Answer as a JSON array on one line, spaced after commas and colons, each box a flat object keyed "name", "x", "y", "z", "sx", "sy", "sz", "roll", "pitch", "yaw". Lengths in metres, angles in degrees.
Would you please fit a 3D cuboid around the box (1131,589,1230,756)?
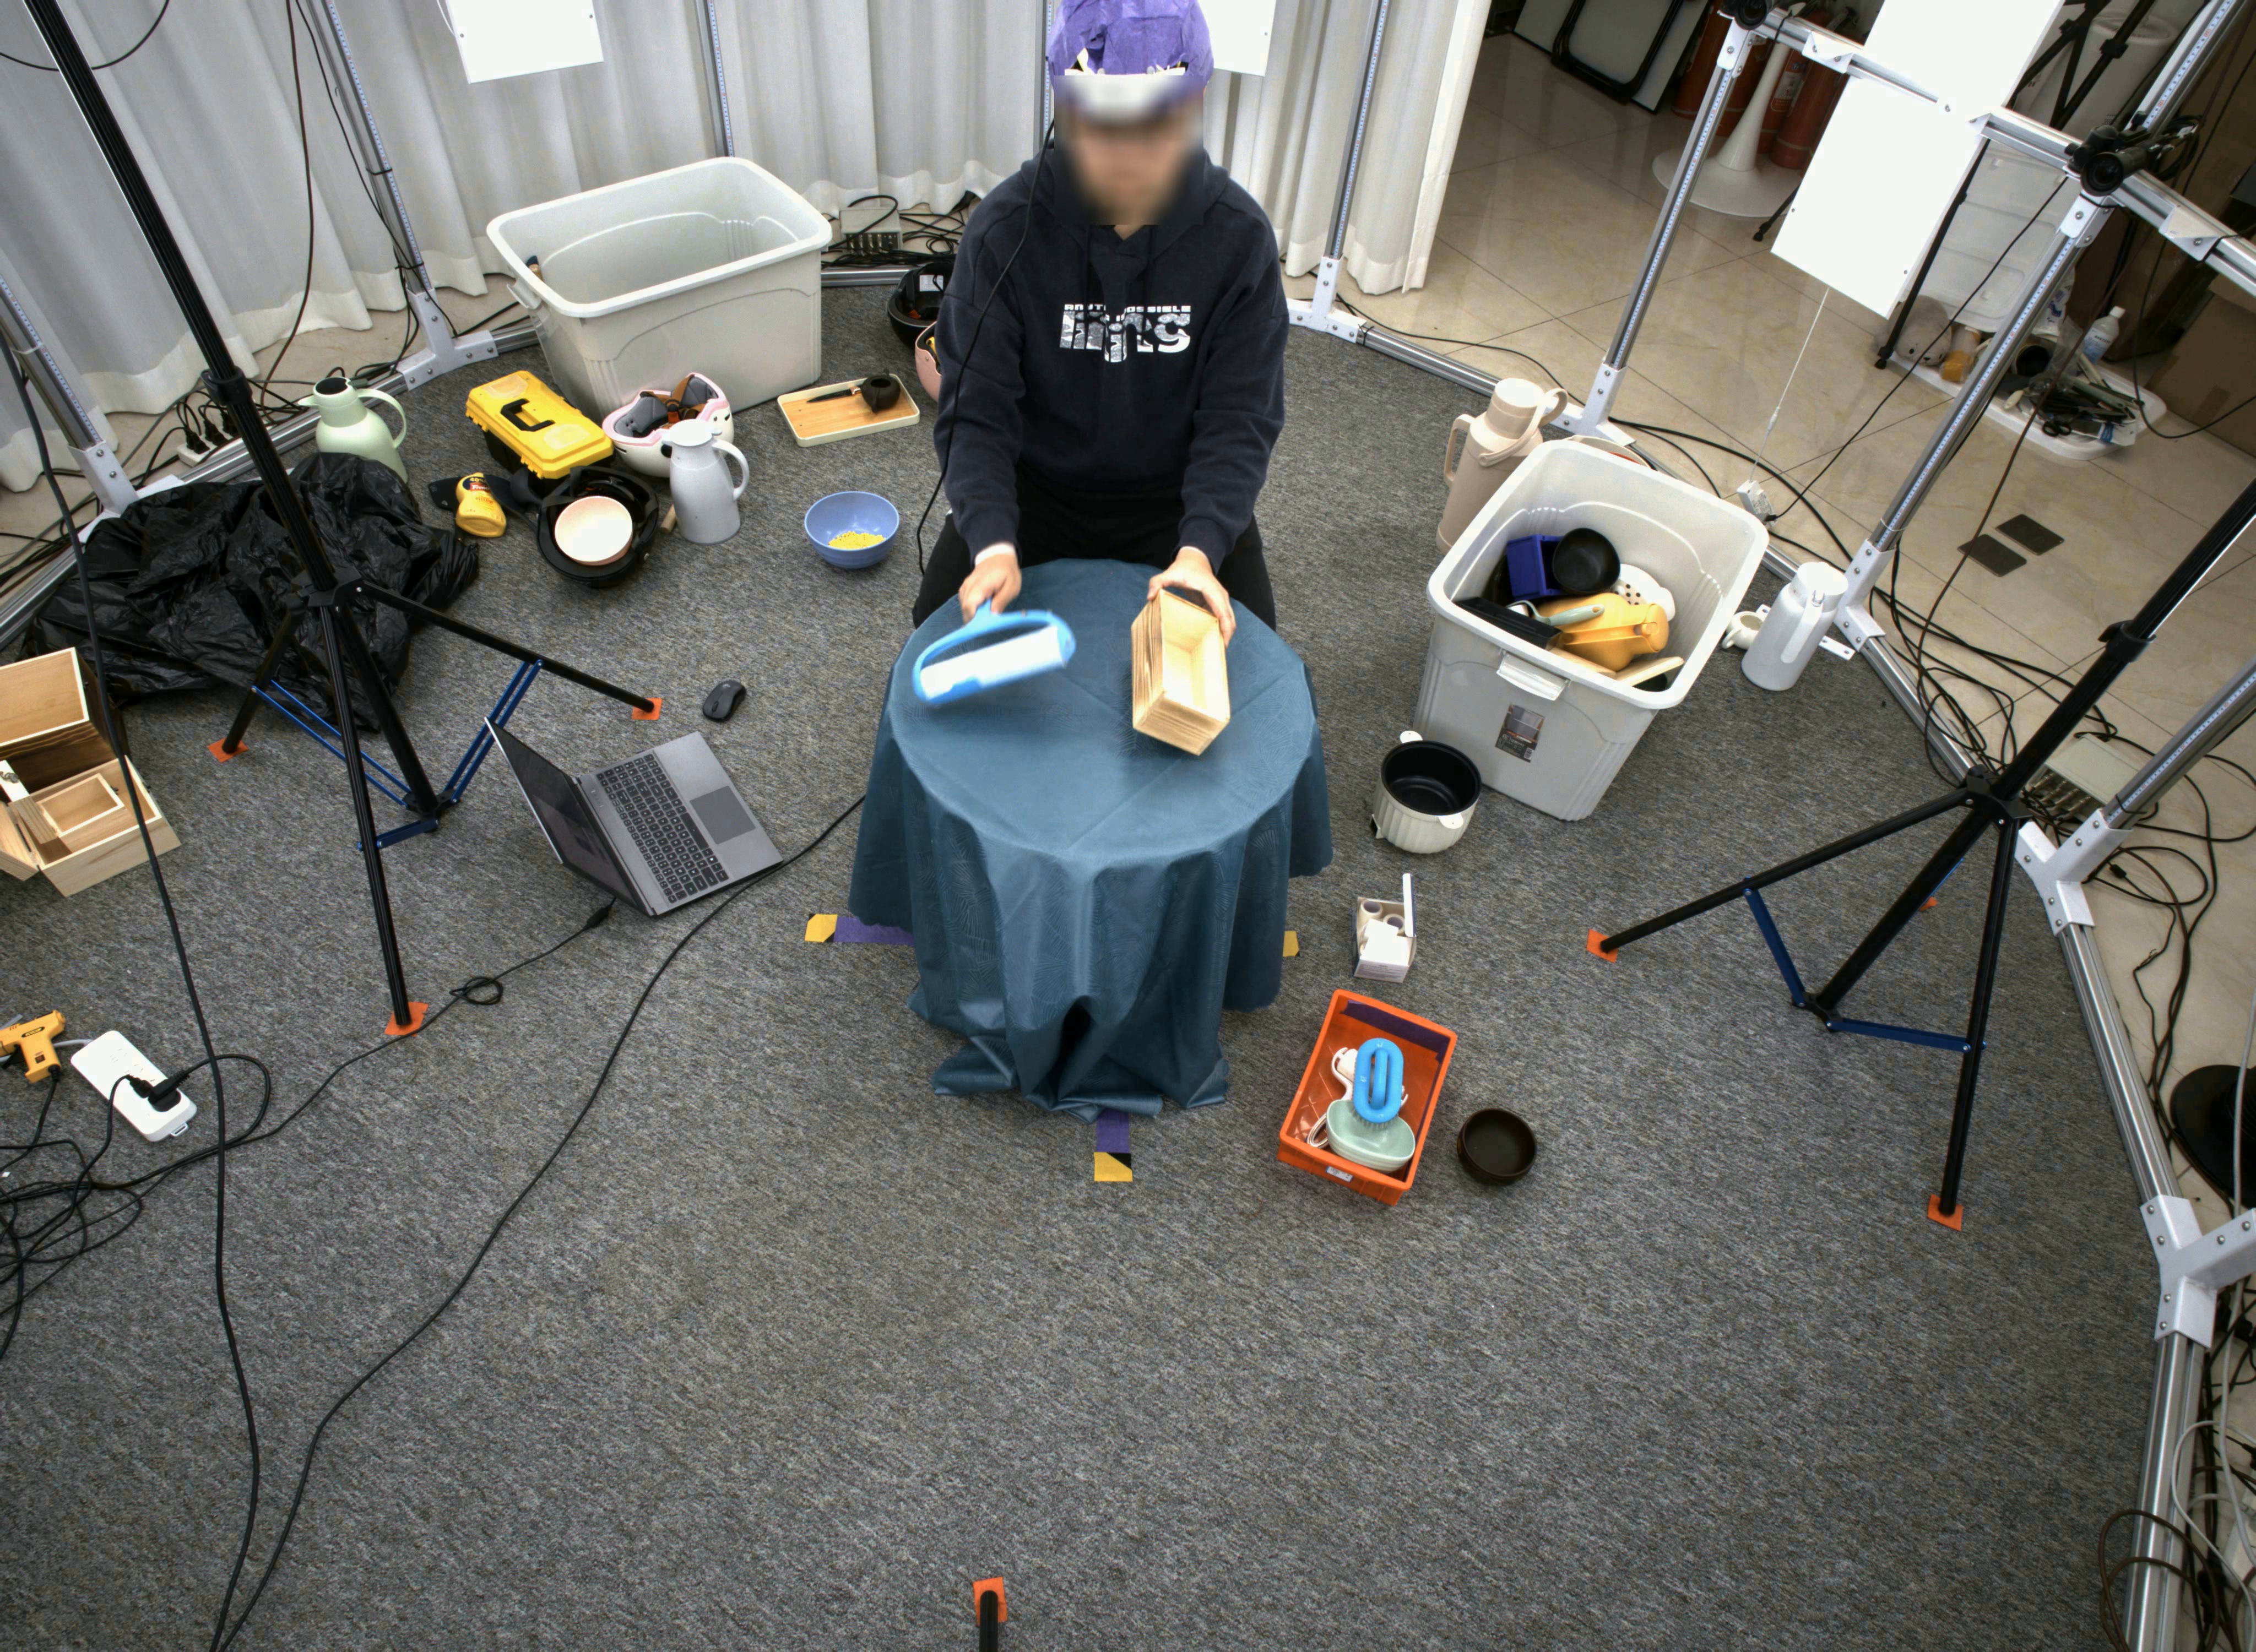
[{"name": "box", "x": 0.070, "y": -0.214, "z": 1.772, "sx": 0.106, "sy": 0.079, "sz": 0.217, "roll": 20, "pitch": 44, "yaw": -22}]

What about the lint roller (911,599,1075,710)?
[{"name": "lint roller", "x": -0.193, "y": -0.258, "z": 1.772, "sx": 0.228, "sy": 0.066, "sz": 0.184, "roll": -17, "pitch": 57, "yaw": 8}]
